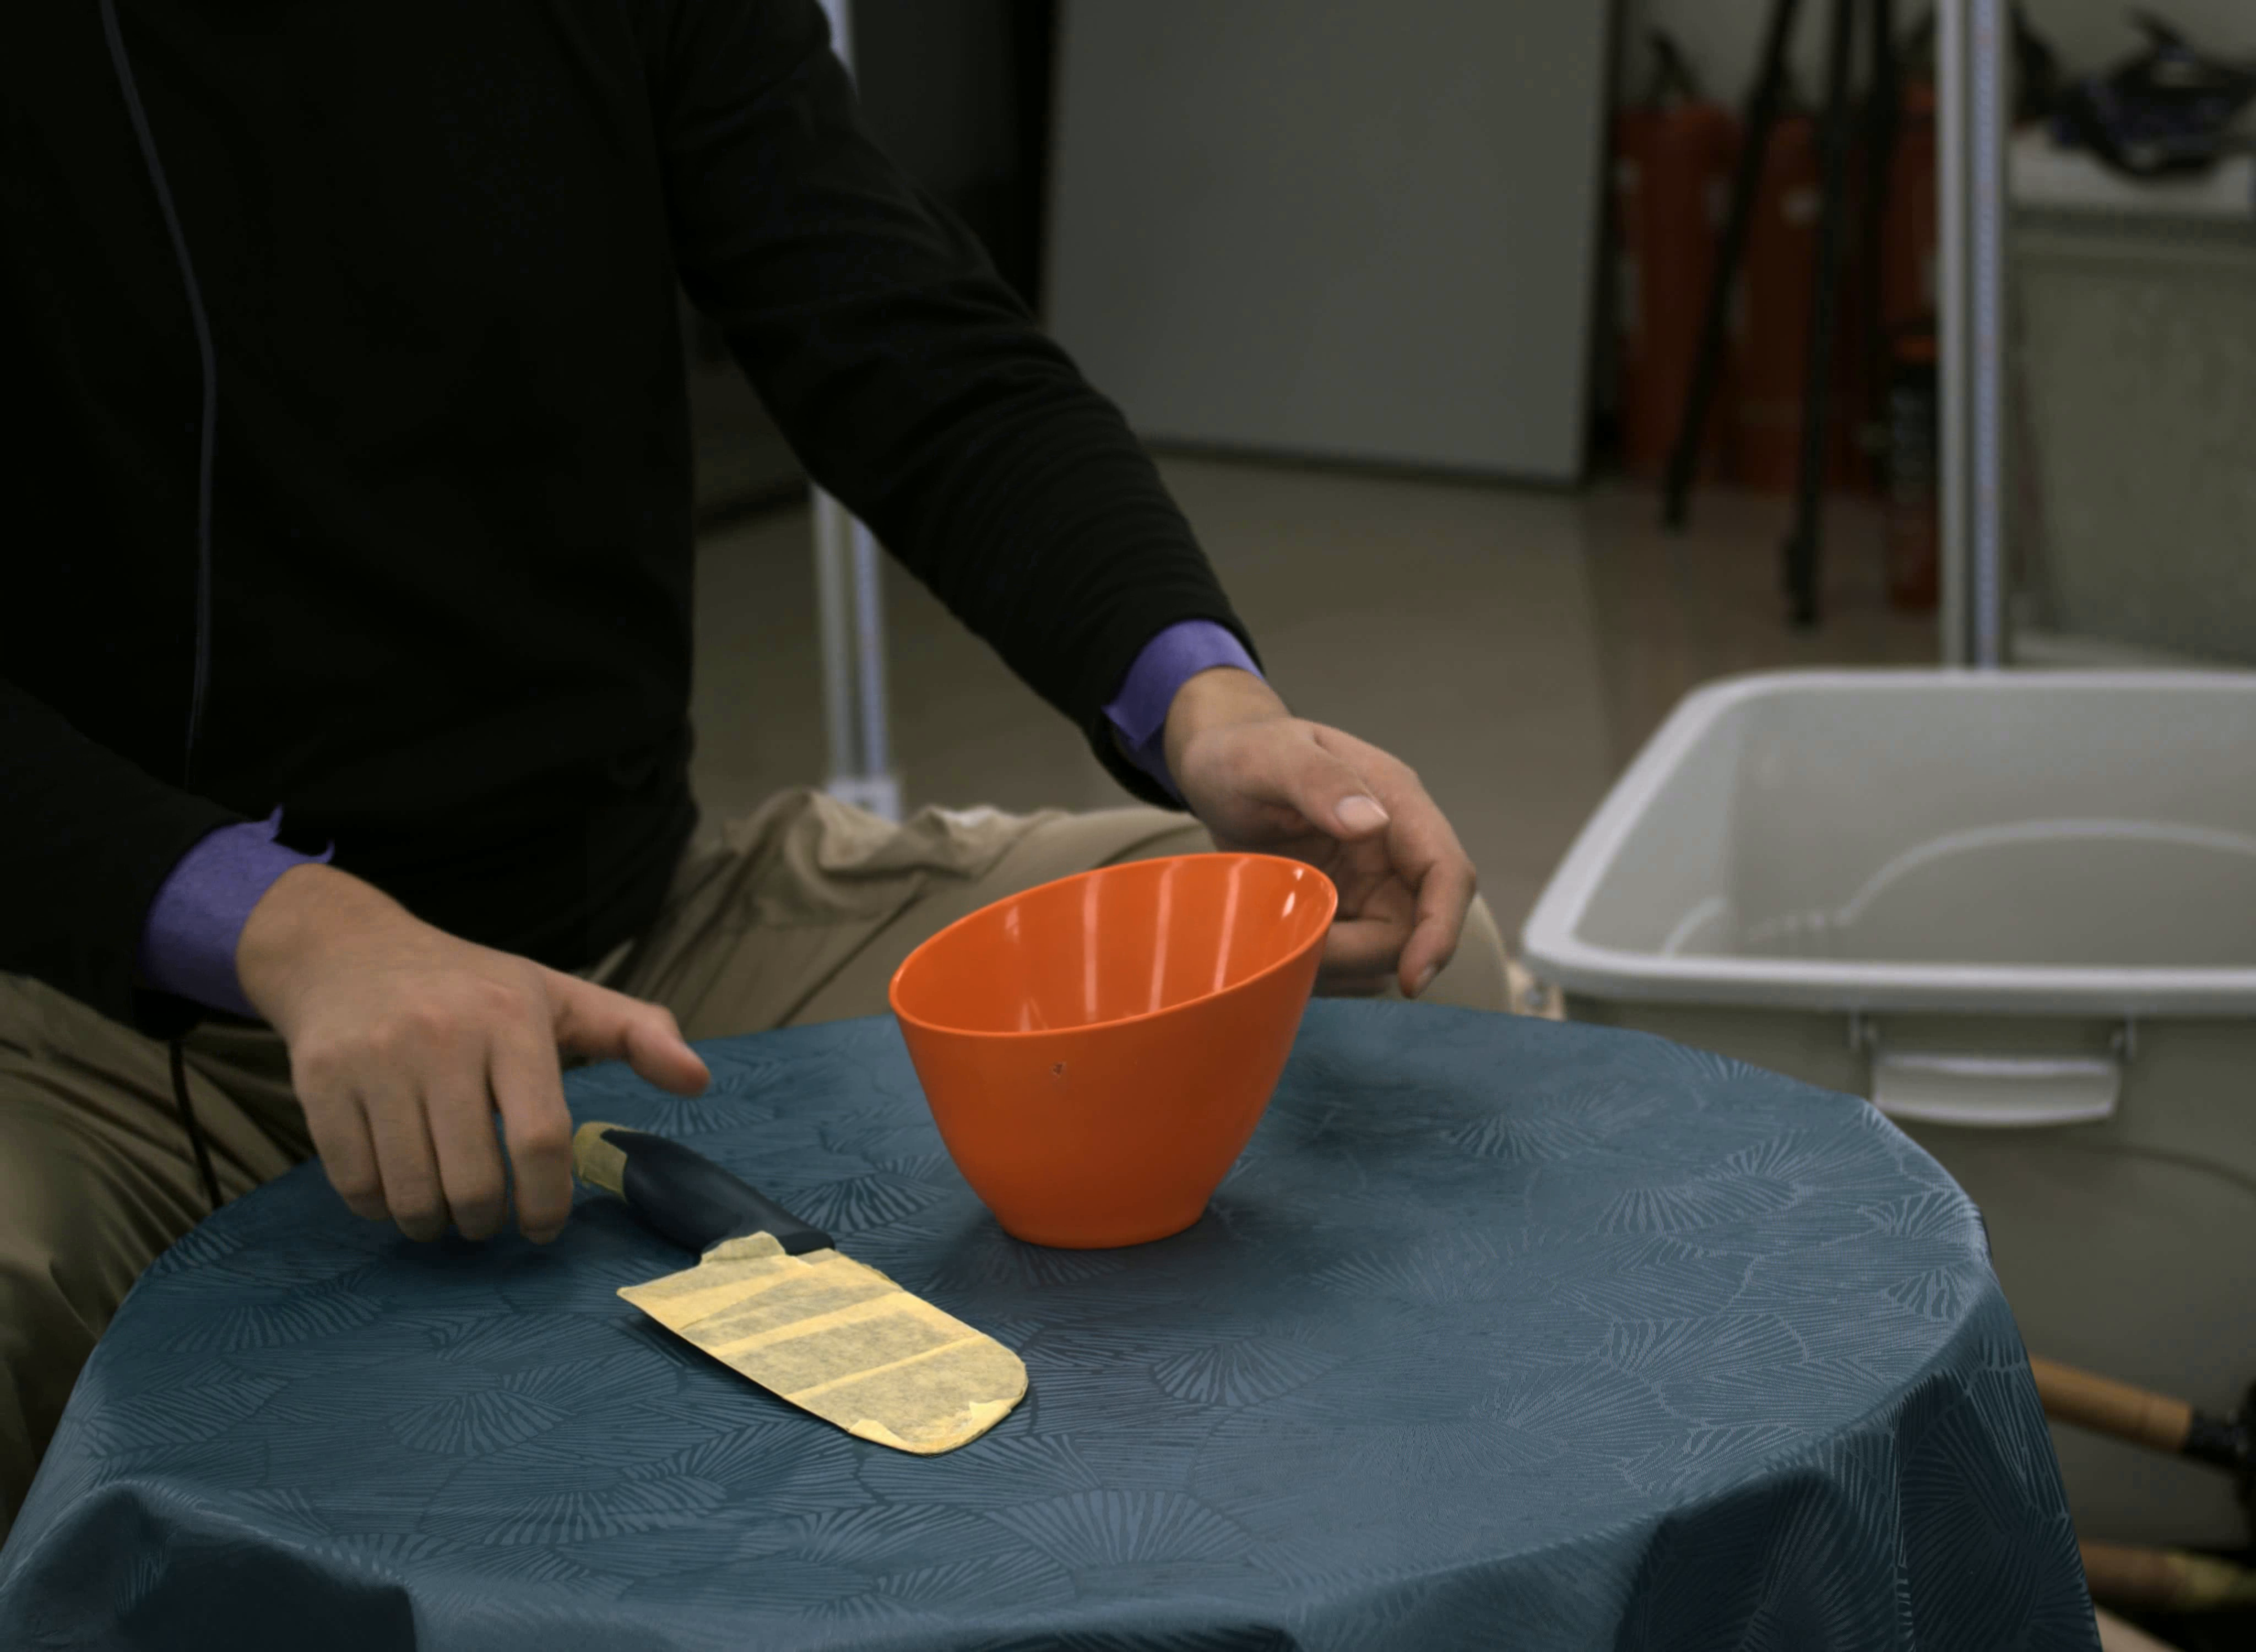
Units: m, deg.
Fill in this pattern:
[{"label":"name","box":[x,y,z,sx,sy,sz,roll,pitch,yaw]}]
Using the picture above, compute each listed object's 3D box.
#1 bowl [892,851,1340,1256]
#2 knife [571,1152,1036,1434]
[{"label":"bowl","box":[-0.001,0.077,1.741,0.146,0.106,0.148,-4,15,0]},{"label":"knife","box":[-0.114,0.146,1.679,0.079,0.027,0.292,-10,16,-28]}]
